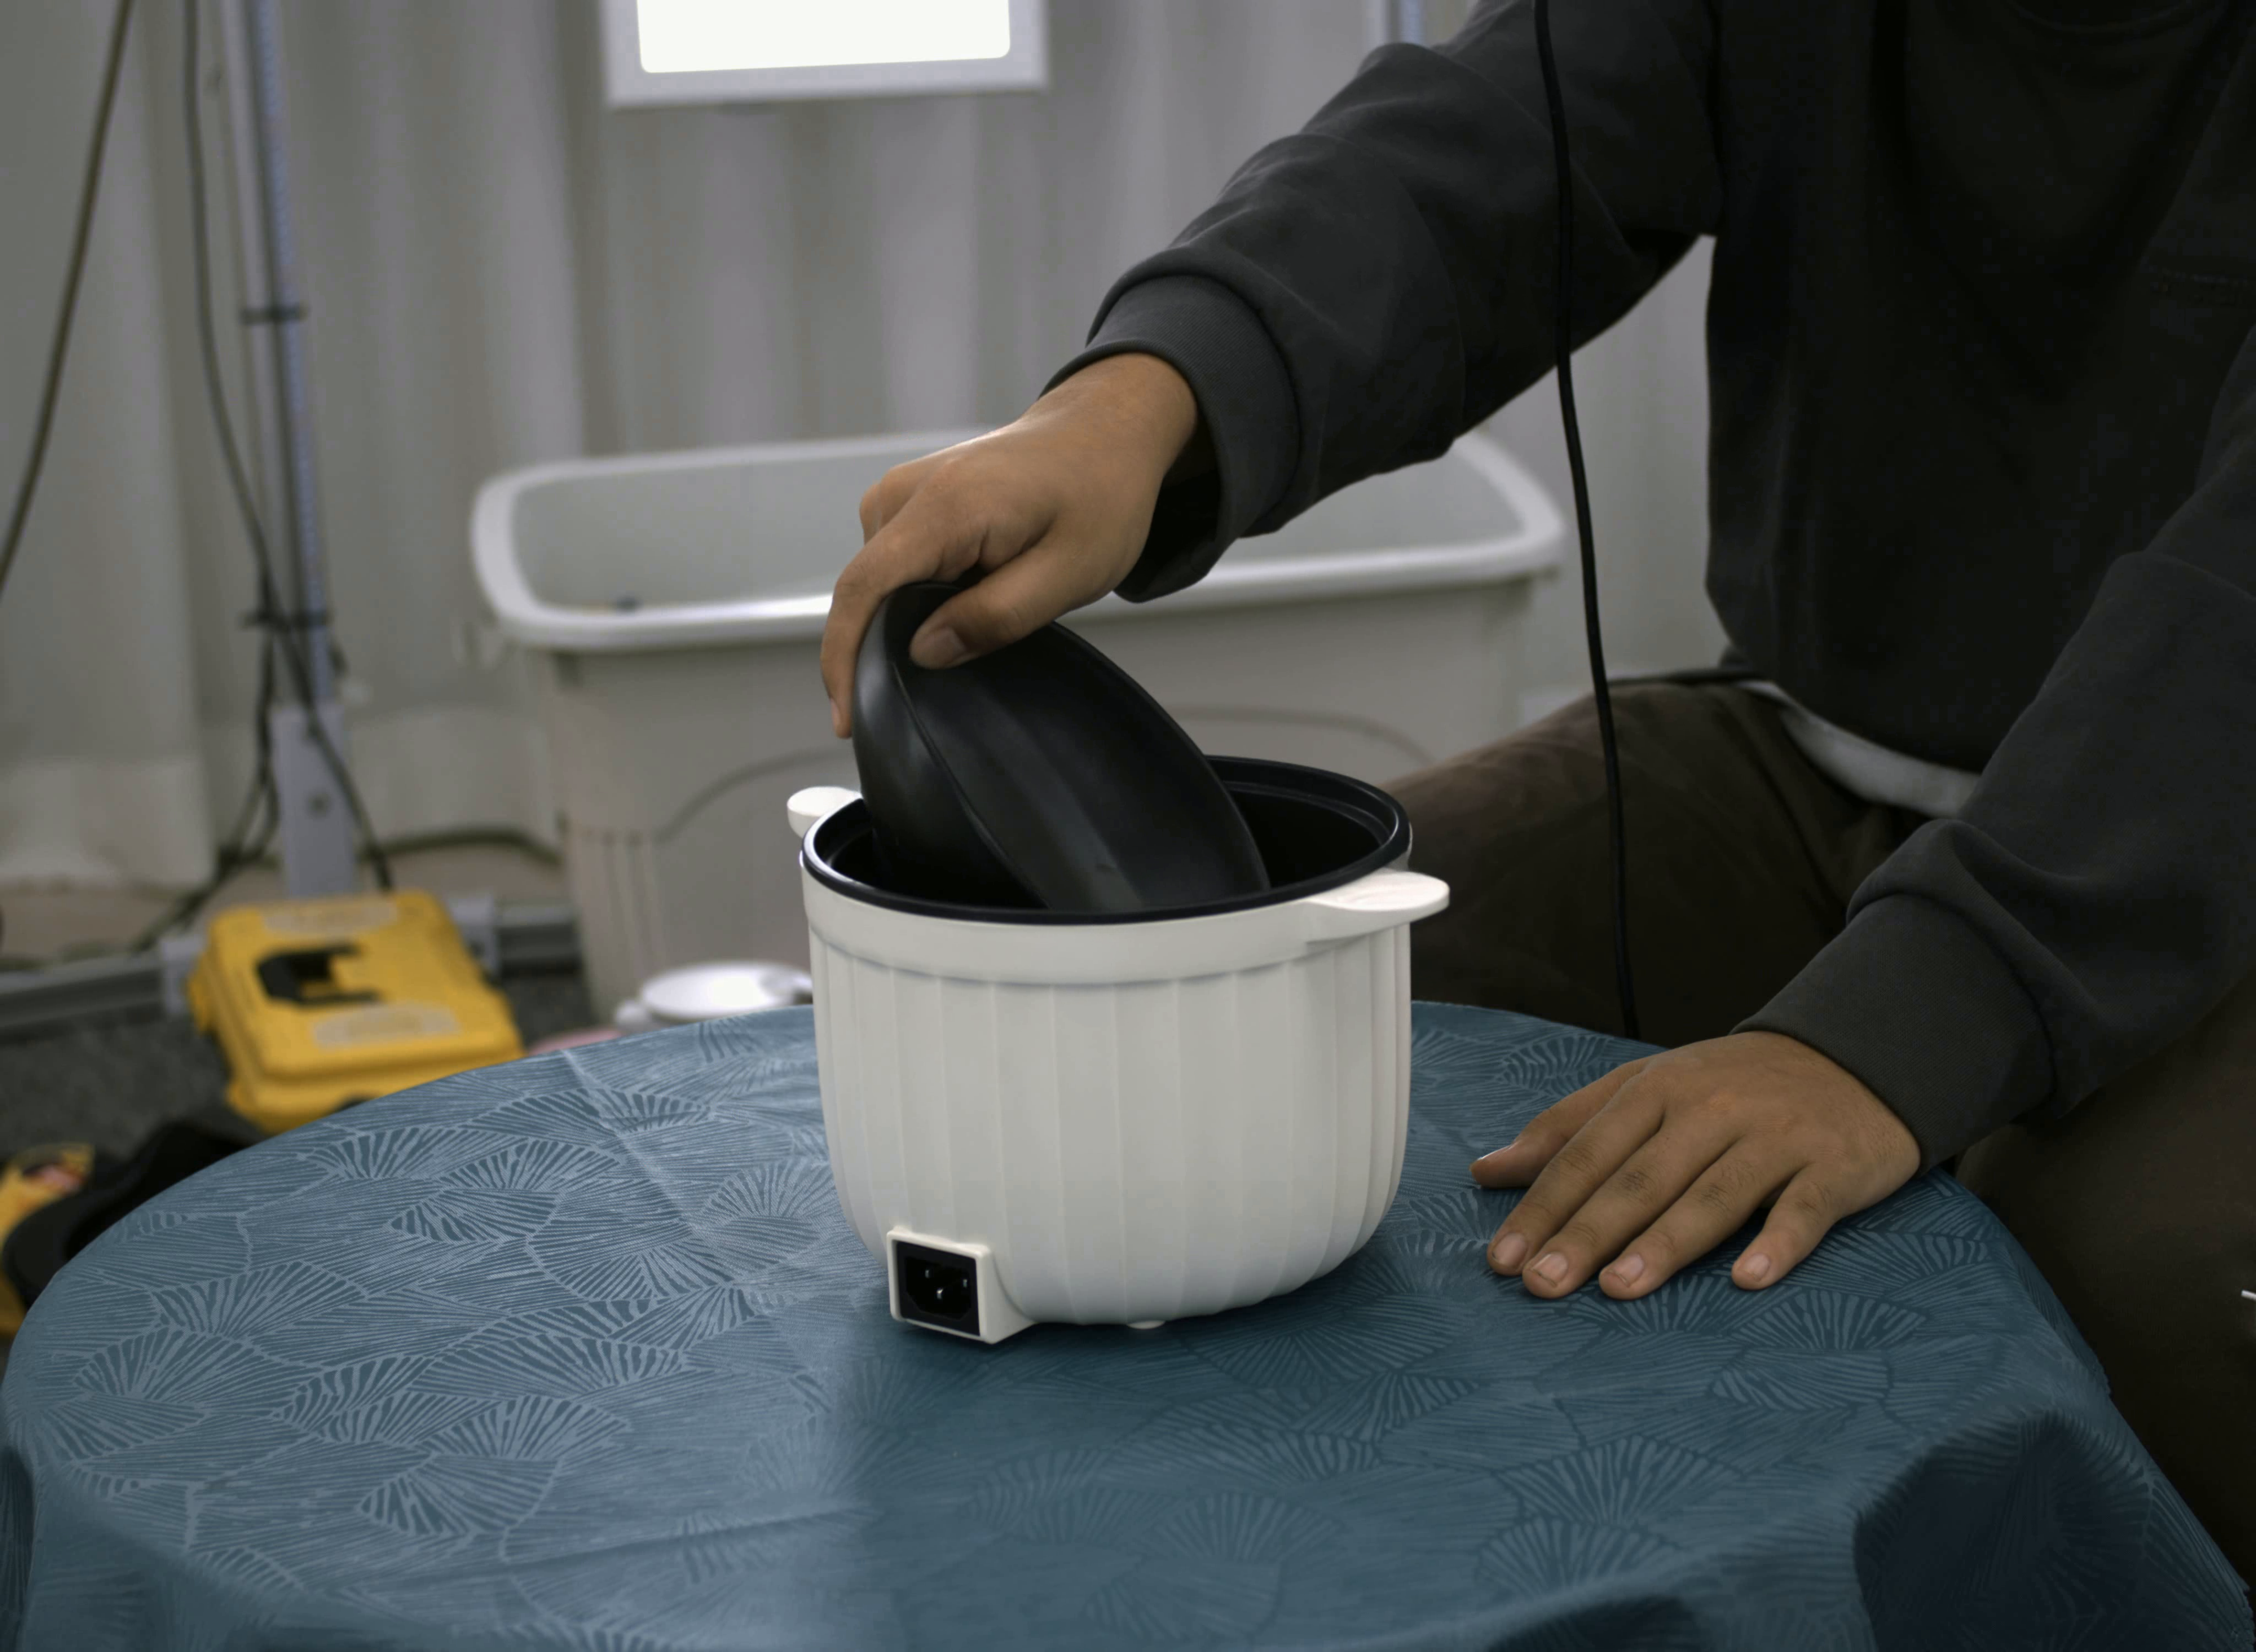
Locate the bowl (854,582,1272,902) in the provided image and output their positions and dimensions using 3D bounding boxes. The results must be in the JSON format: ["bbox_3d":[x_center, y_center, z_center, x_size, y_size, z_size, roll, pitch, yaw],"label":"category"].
[{"bbox_3d":[-0.031,0.005,1.646,0.066,0.171,0.137,-41,-12,27],"label":"bowl"}]

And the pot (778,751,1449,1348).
[{"bbox_3d":[-0.003,0.064,1.643,0.241,0.142,0.190,10,22,36],"label":"pot"}]
